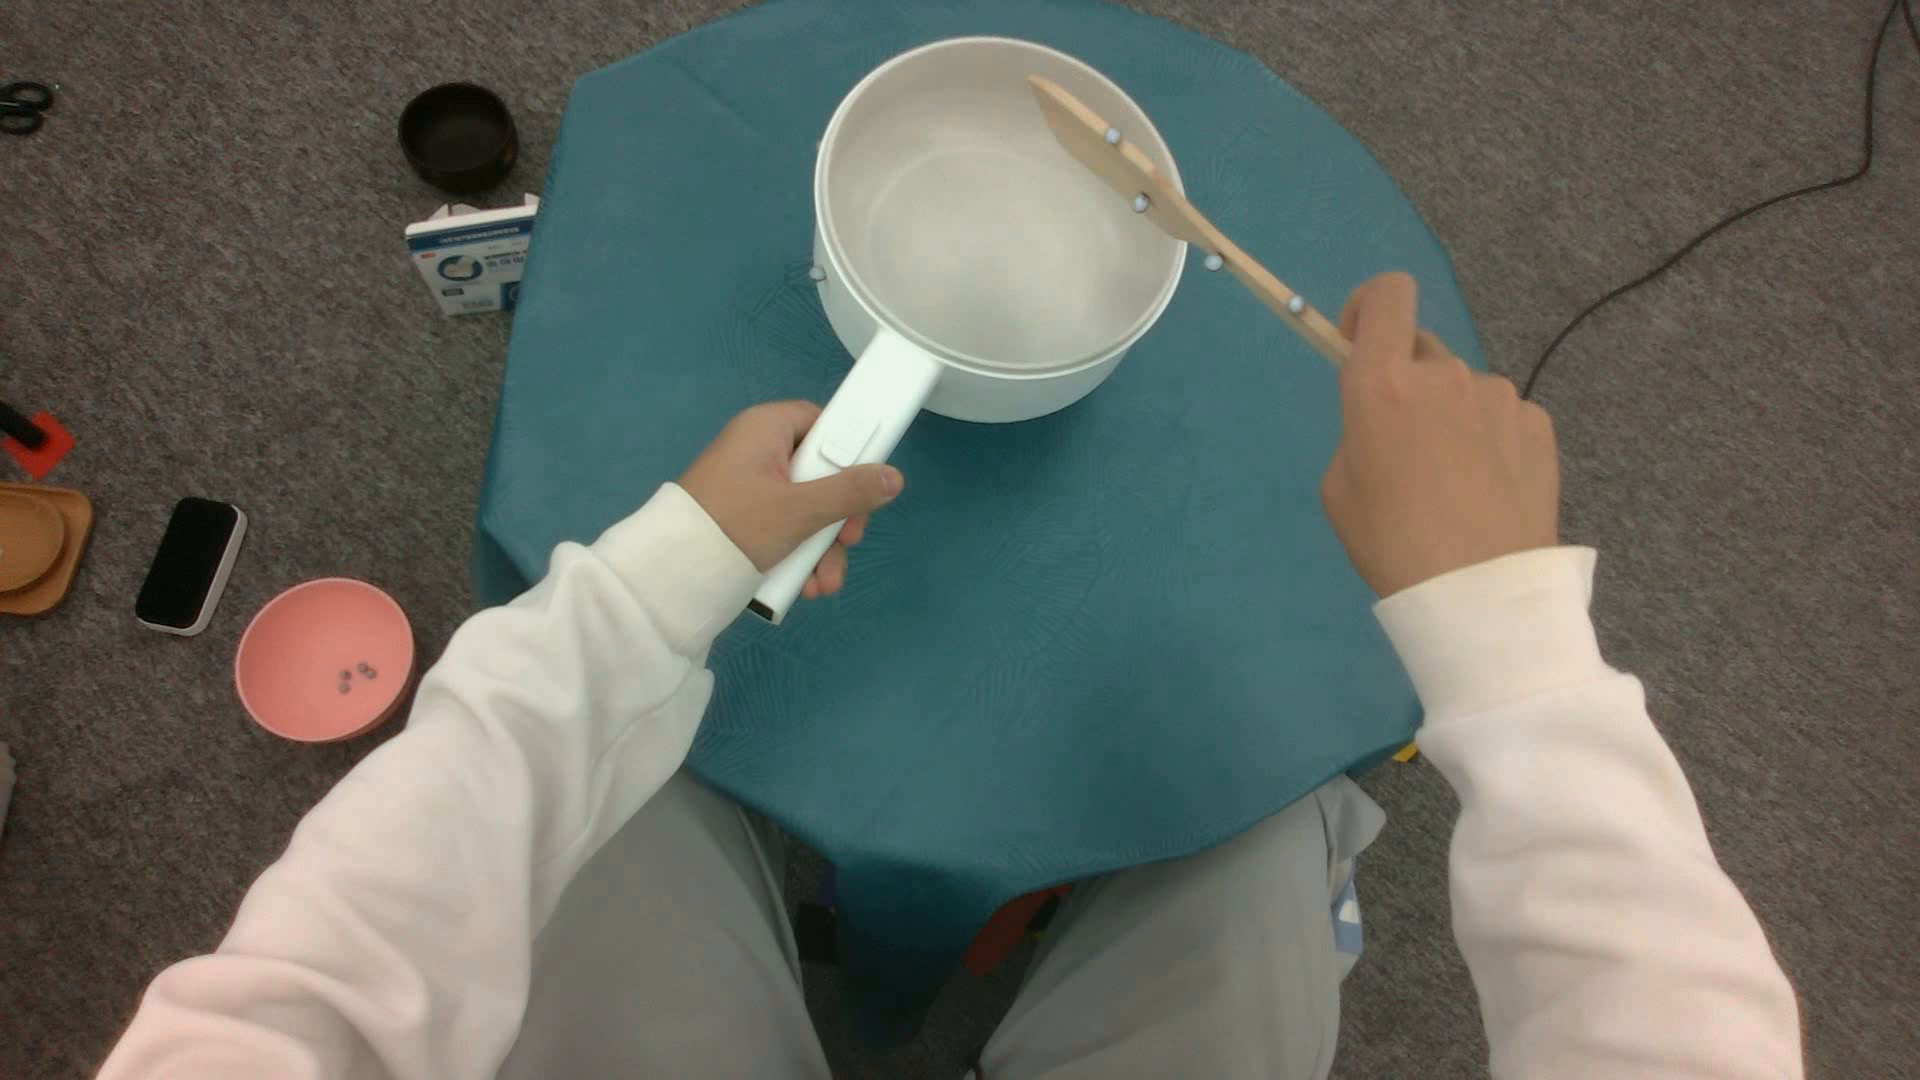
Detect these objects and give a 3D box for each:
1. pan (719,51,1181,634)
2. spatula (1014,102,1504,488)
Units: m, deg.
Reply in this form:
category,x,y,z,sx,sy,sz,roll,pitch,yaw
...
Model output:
category,x,y,z,sx,sy,sz,roll,pitch,yaw
pan,-0.020,-0.100,0.754,0.201,0.102,0.356,29,71,1
spatula,0.132,-0.117,0.638,0.010,0.072,0.293,-47,64,3
